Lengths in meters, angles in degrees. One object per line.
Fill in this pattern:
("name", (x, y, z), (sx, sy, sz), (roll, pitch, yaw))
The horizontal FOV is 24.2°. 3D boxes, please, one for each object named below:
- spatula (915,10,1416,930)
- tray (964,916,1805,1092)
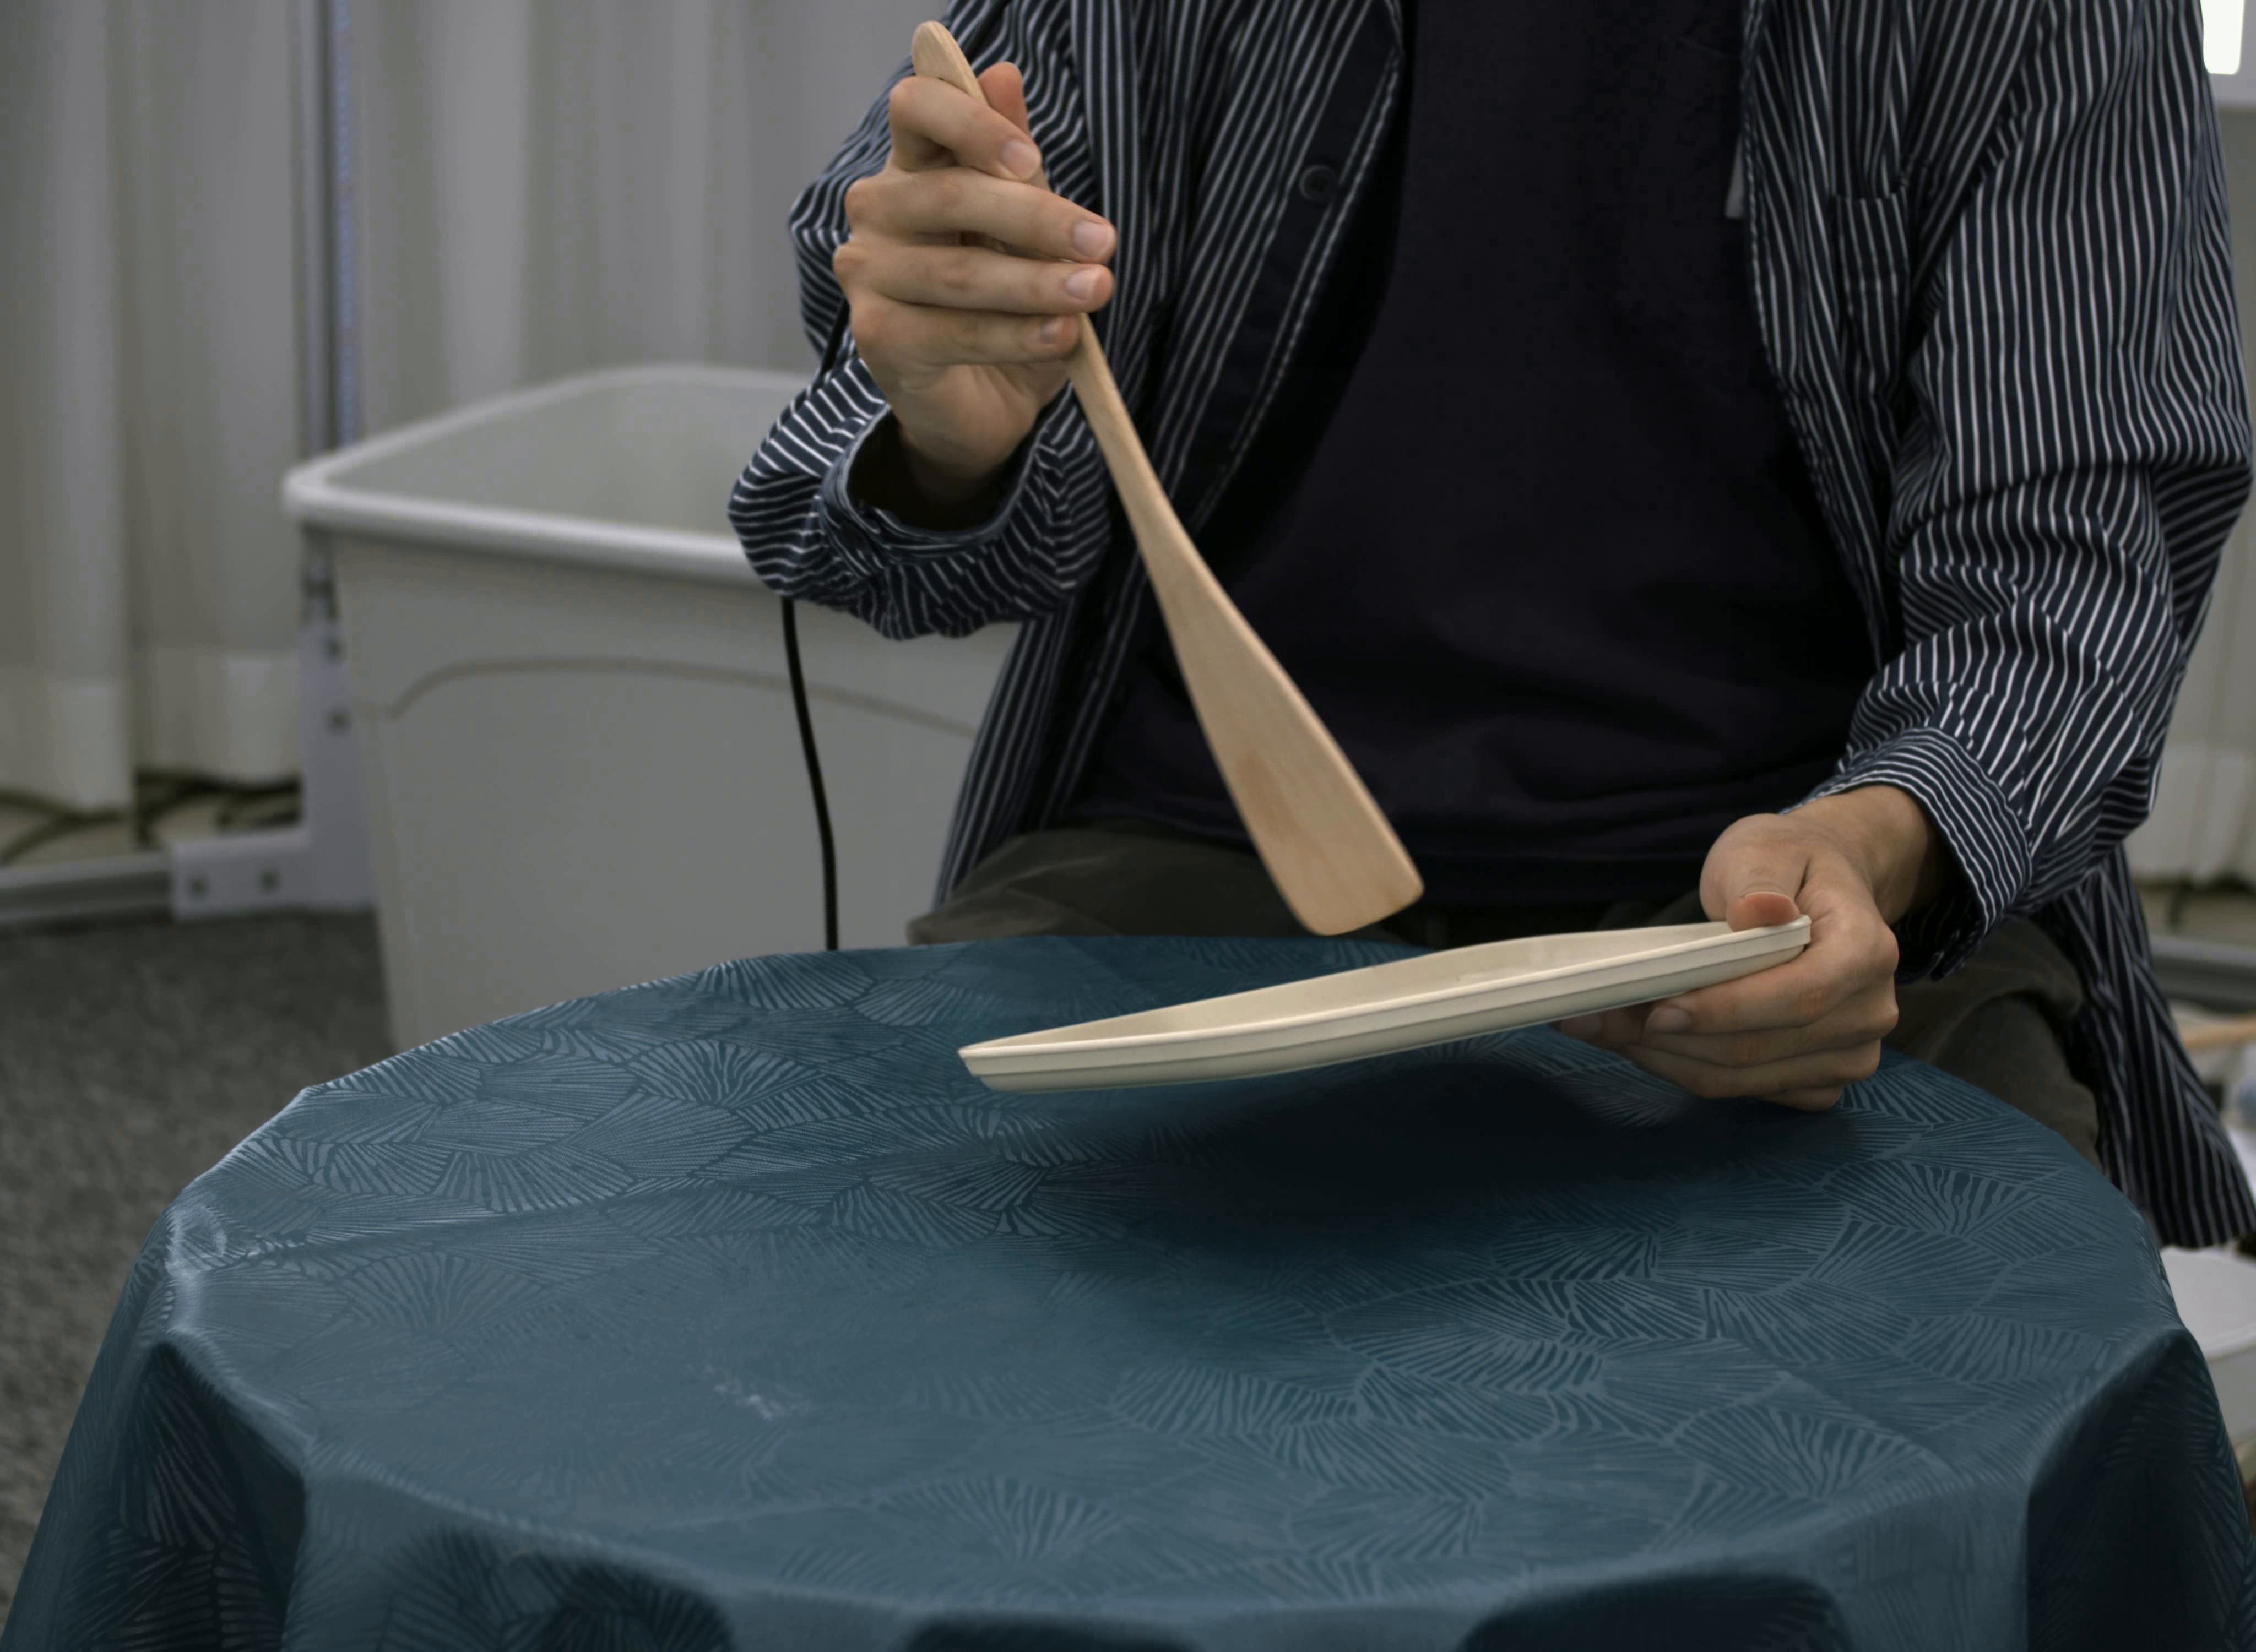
("spatula", (0.004, -0.113, 1.646), (0.016, 0.326, 0.080), (-20, -12, -24))
("tray", (0.081, 0.056, 1.640), (0.241, 0.017, 0.170), (-9, 1, -36))
